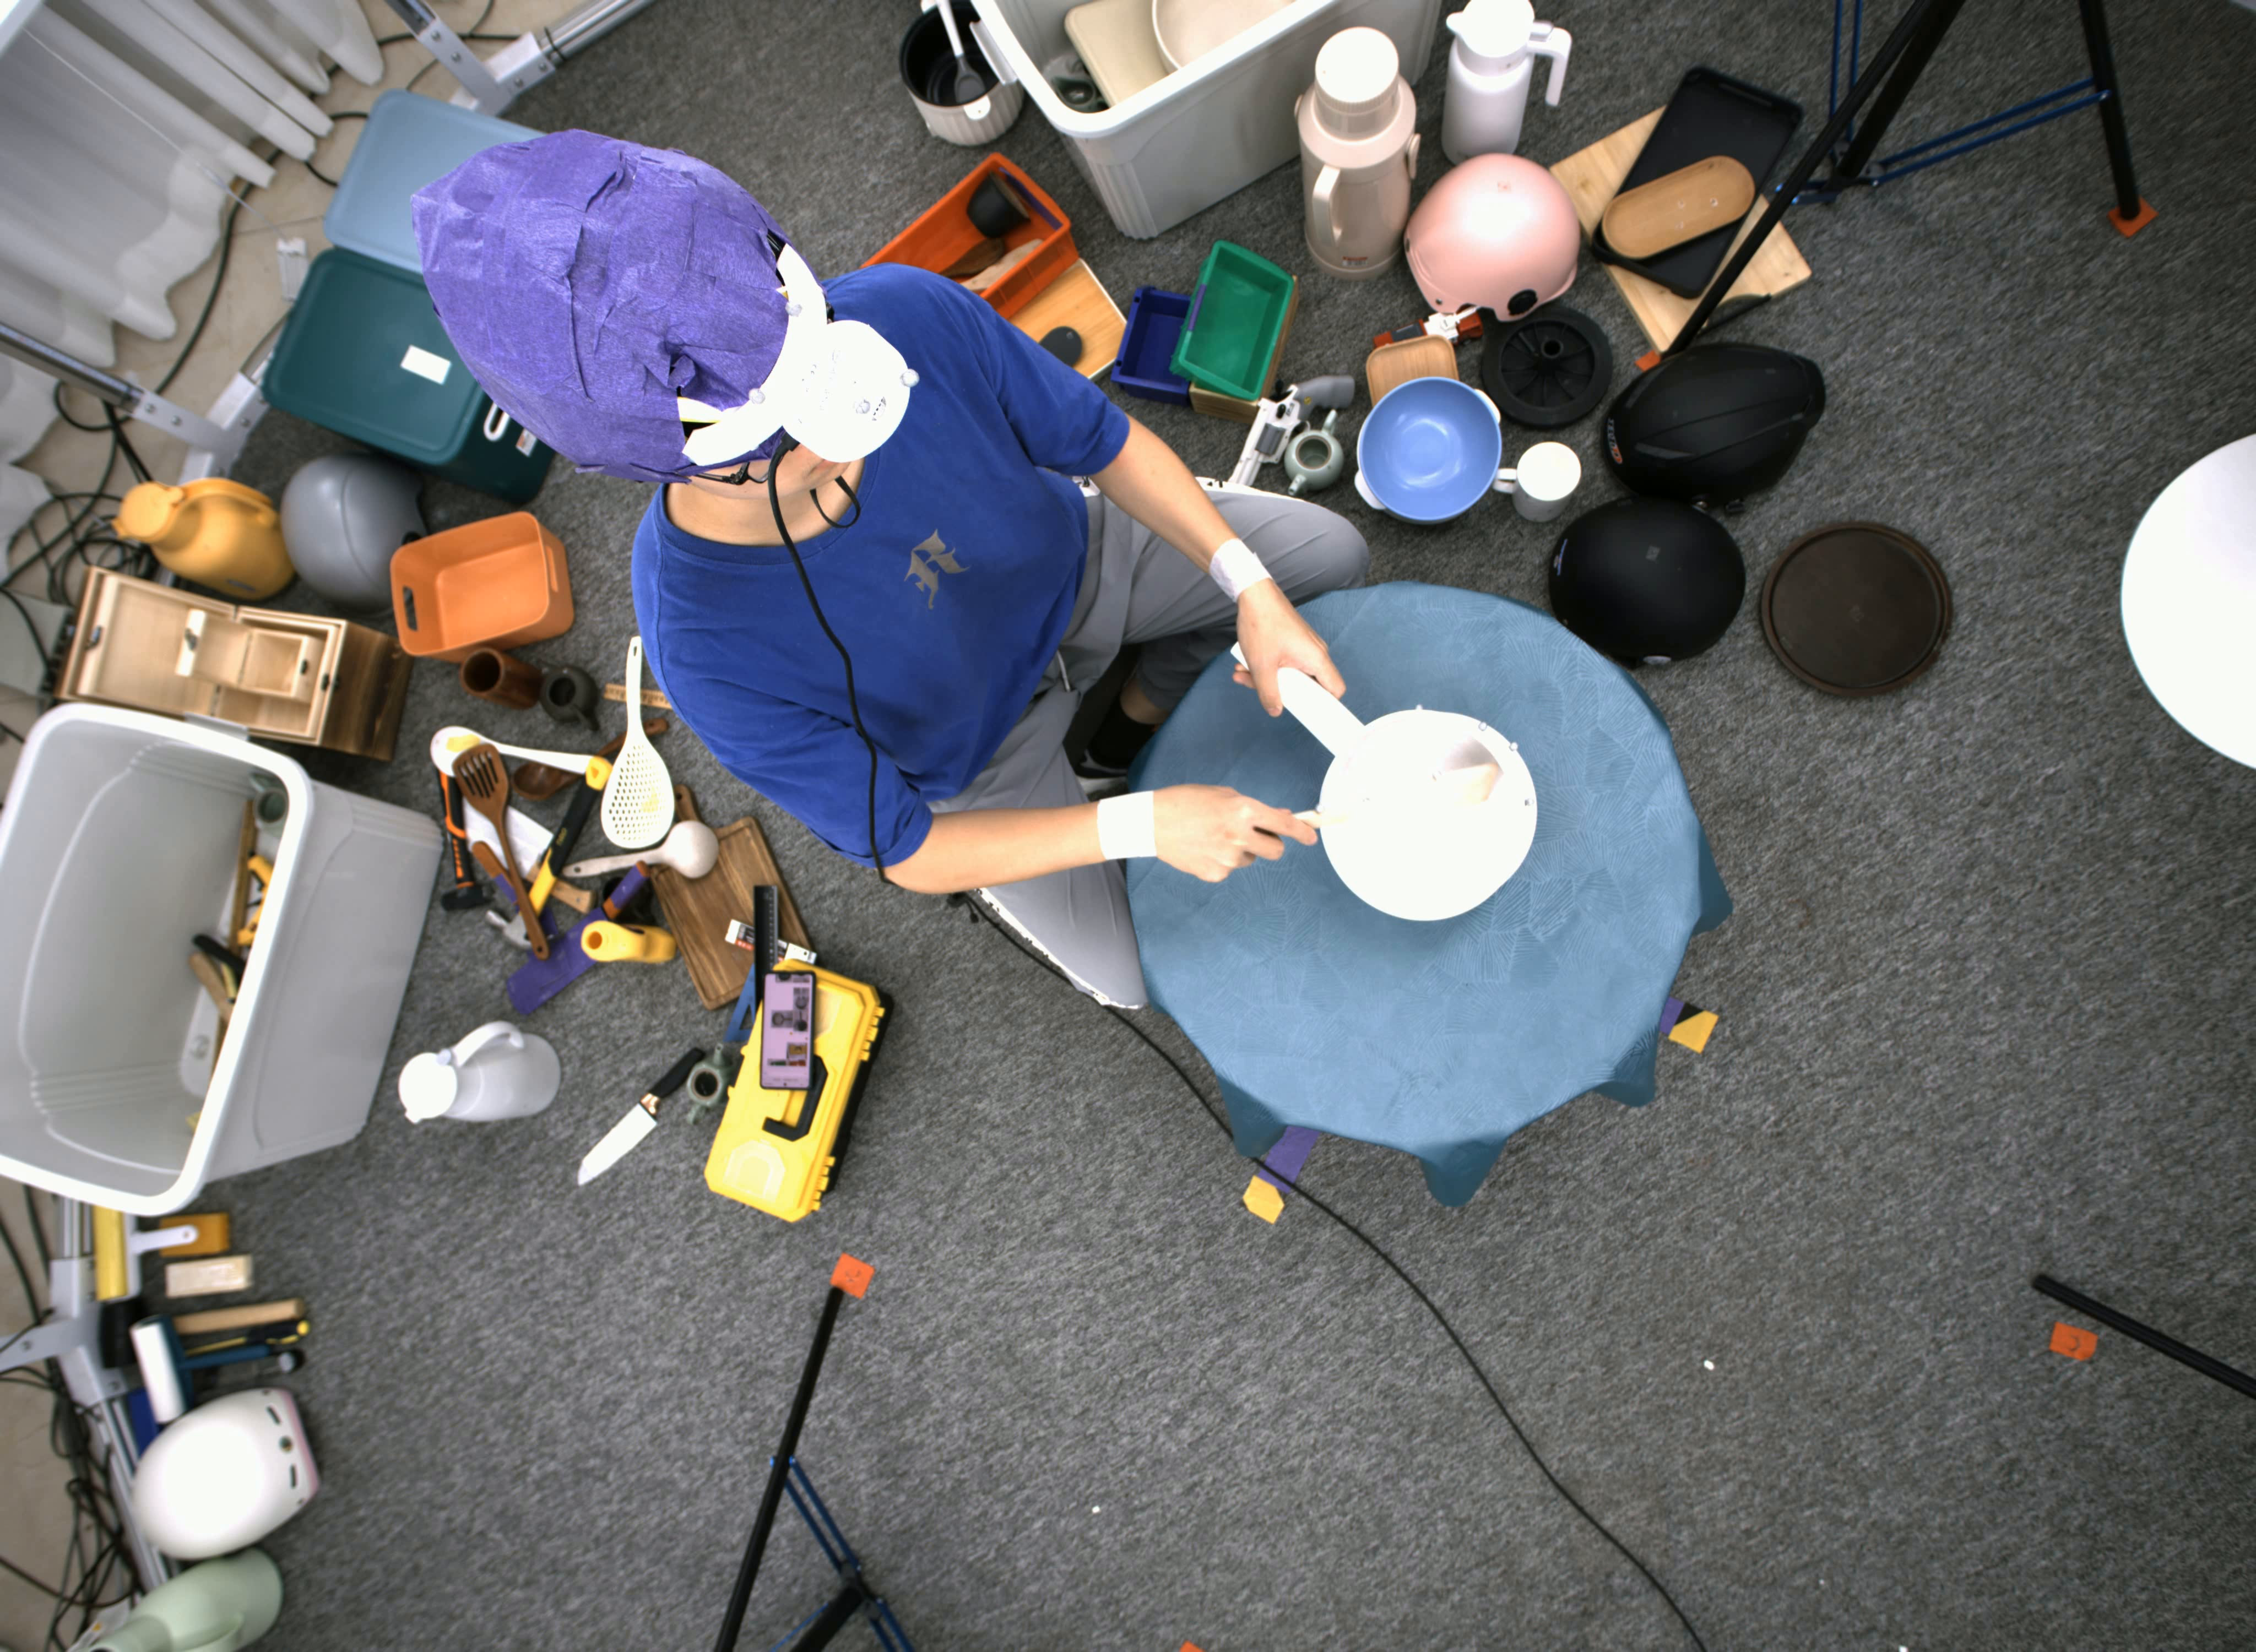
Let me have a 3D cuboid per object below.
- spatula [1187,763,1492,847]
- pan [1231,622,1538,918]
[{"bbox_3d":[0.199,-0.015,1.301,0.293,0.073,0.010,-12,65,0],"label":"spatula"},{"bbox_3d":[0.249,-0.071,1.371,0.352,0.100,0.205,47,119,14],"label":"pan"}]
